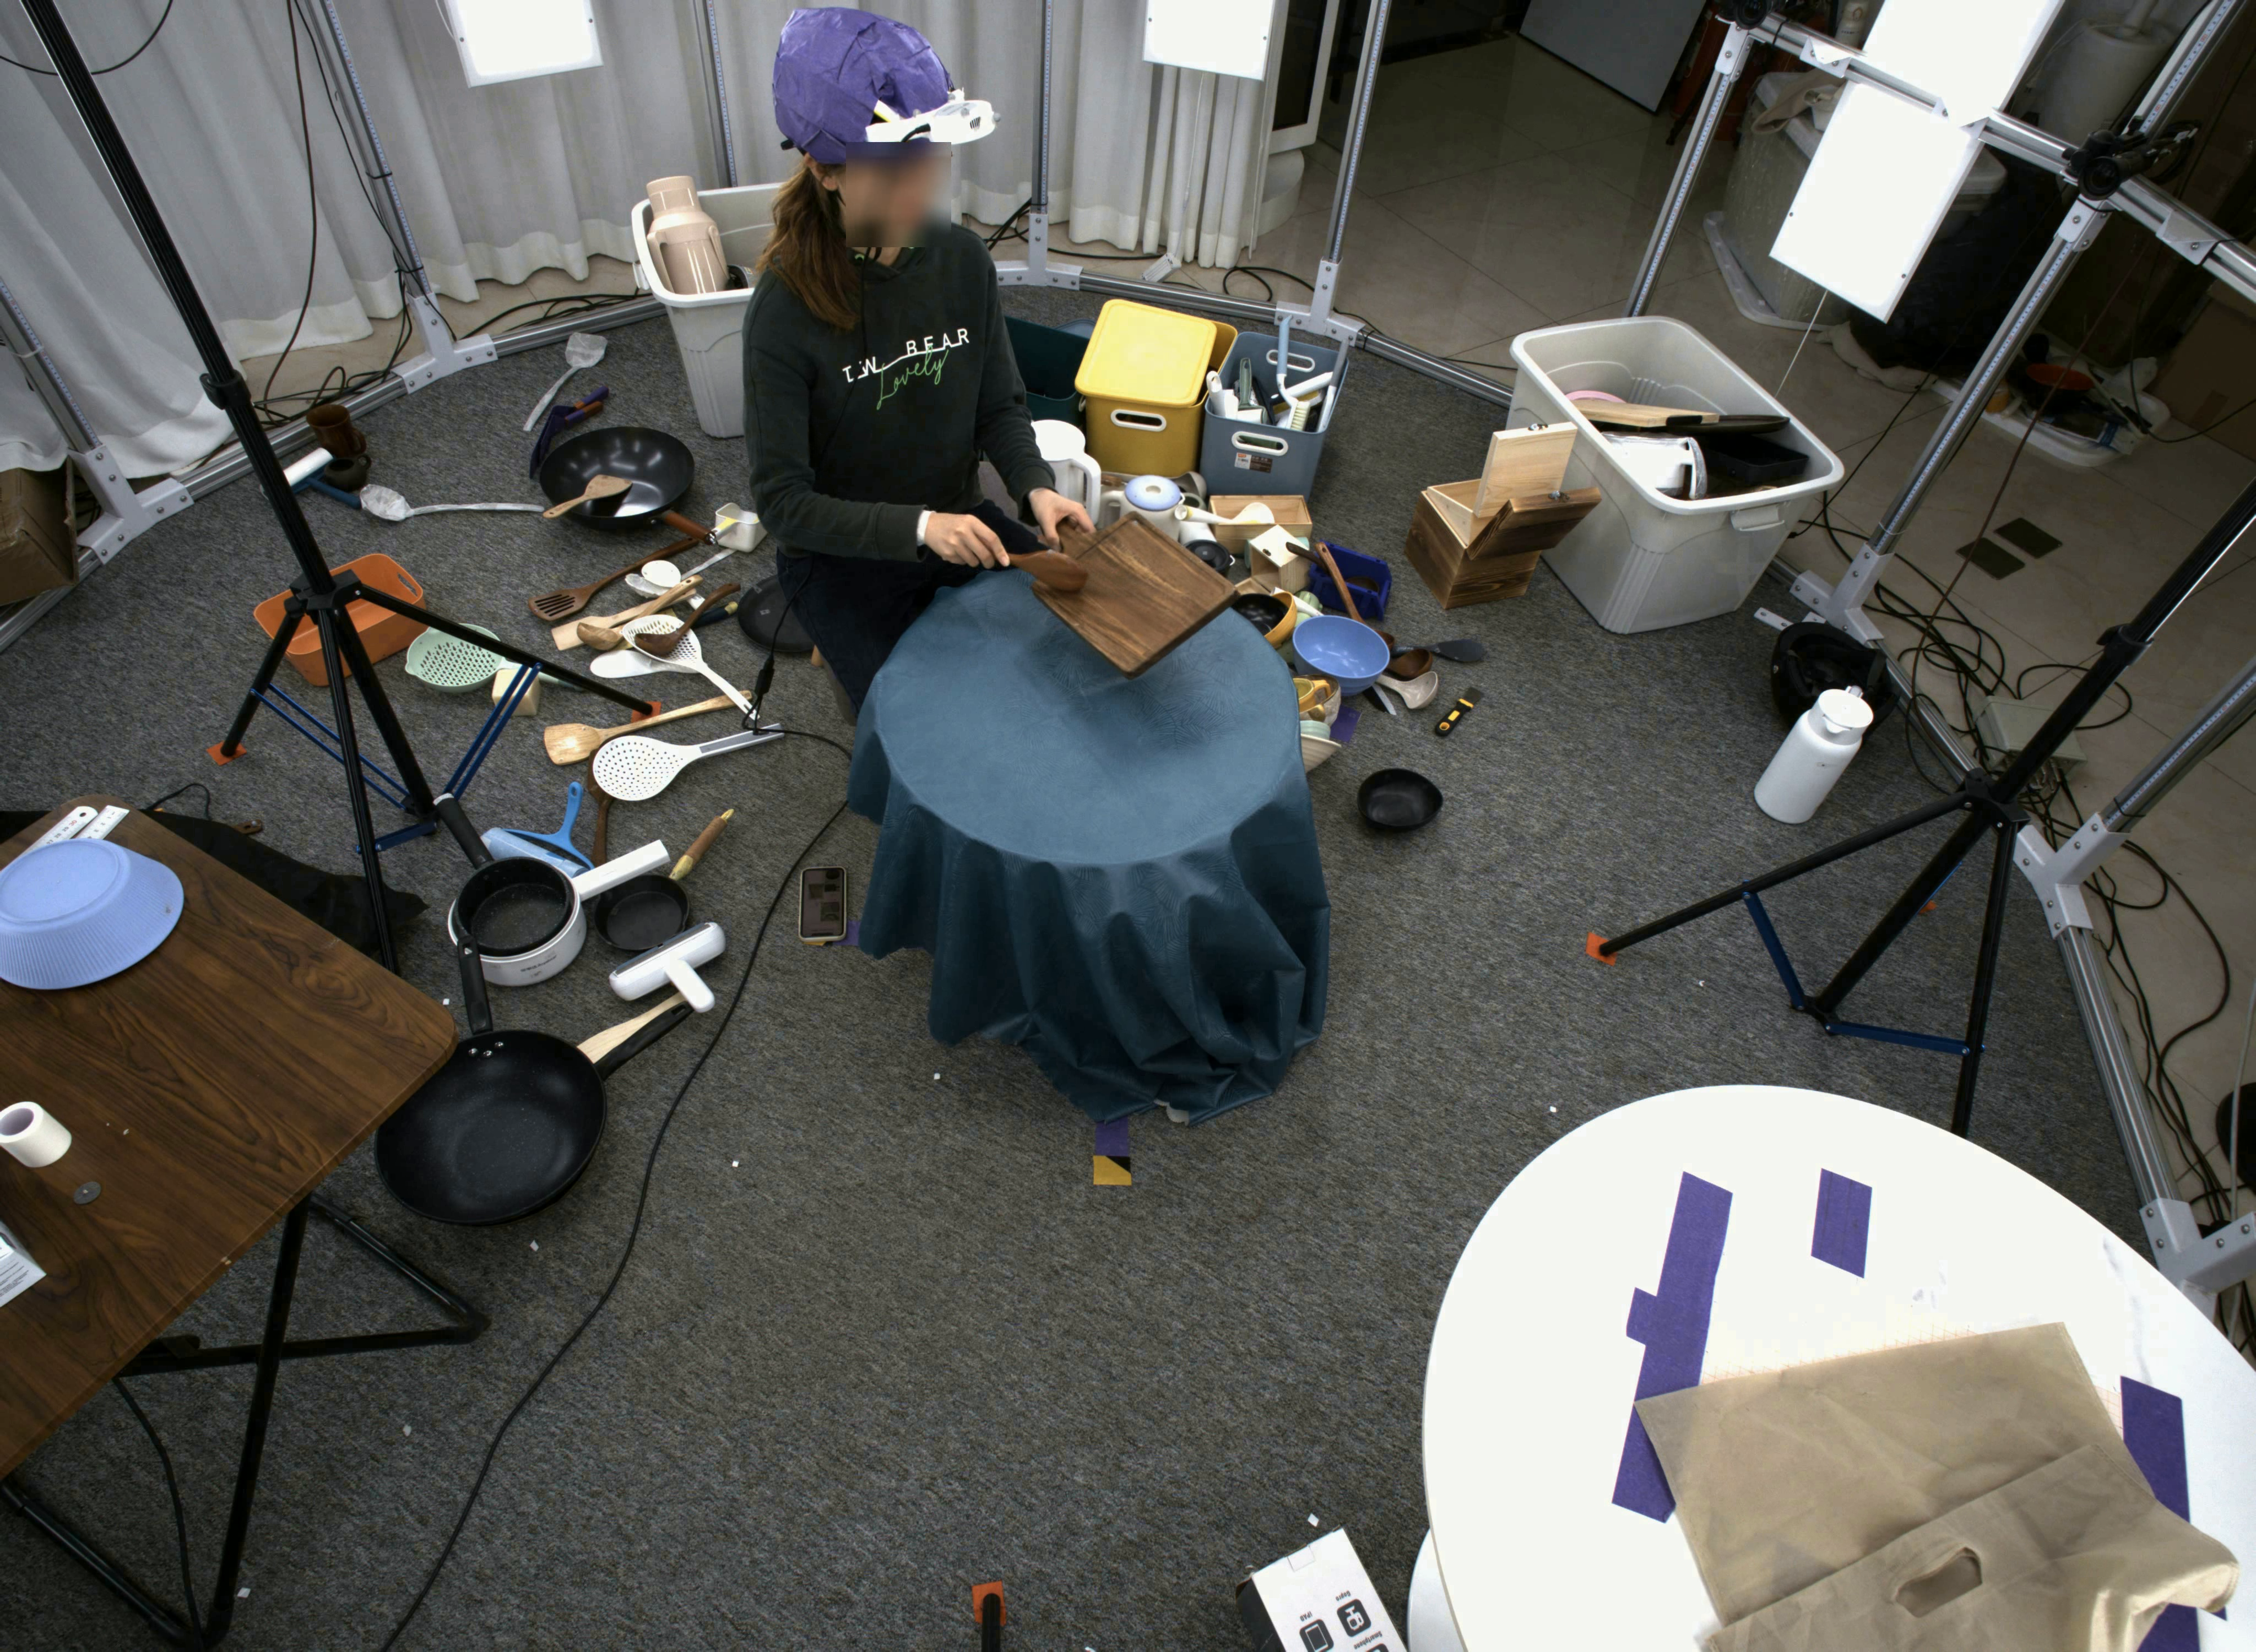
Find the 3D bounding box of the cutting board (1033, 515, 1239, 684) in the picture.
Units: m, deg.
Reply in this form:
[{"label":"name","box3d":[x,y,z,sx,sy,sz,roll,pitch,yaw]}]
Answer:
[{"label":"cutting board","box3d":[-0.020,-0.354,1.843,0.202,0.022,0.359,-38,52,-8]}]

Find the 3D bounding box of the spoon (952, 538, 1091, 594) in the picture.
[{"label":"spoon","box3d":[-0.153,-0.371,1.830,0.217,0.074,0.017,19,67,16]}]
